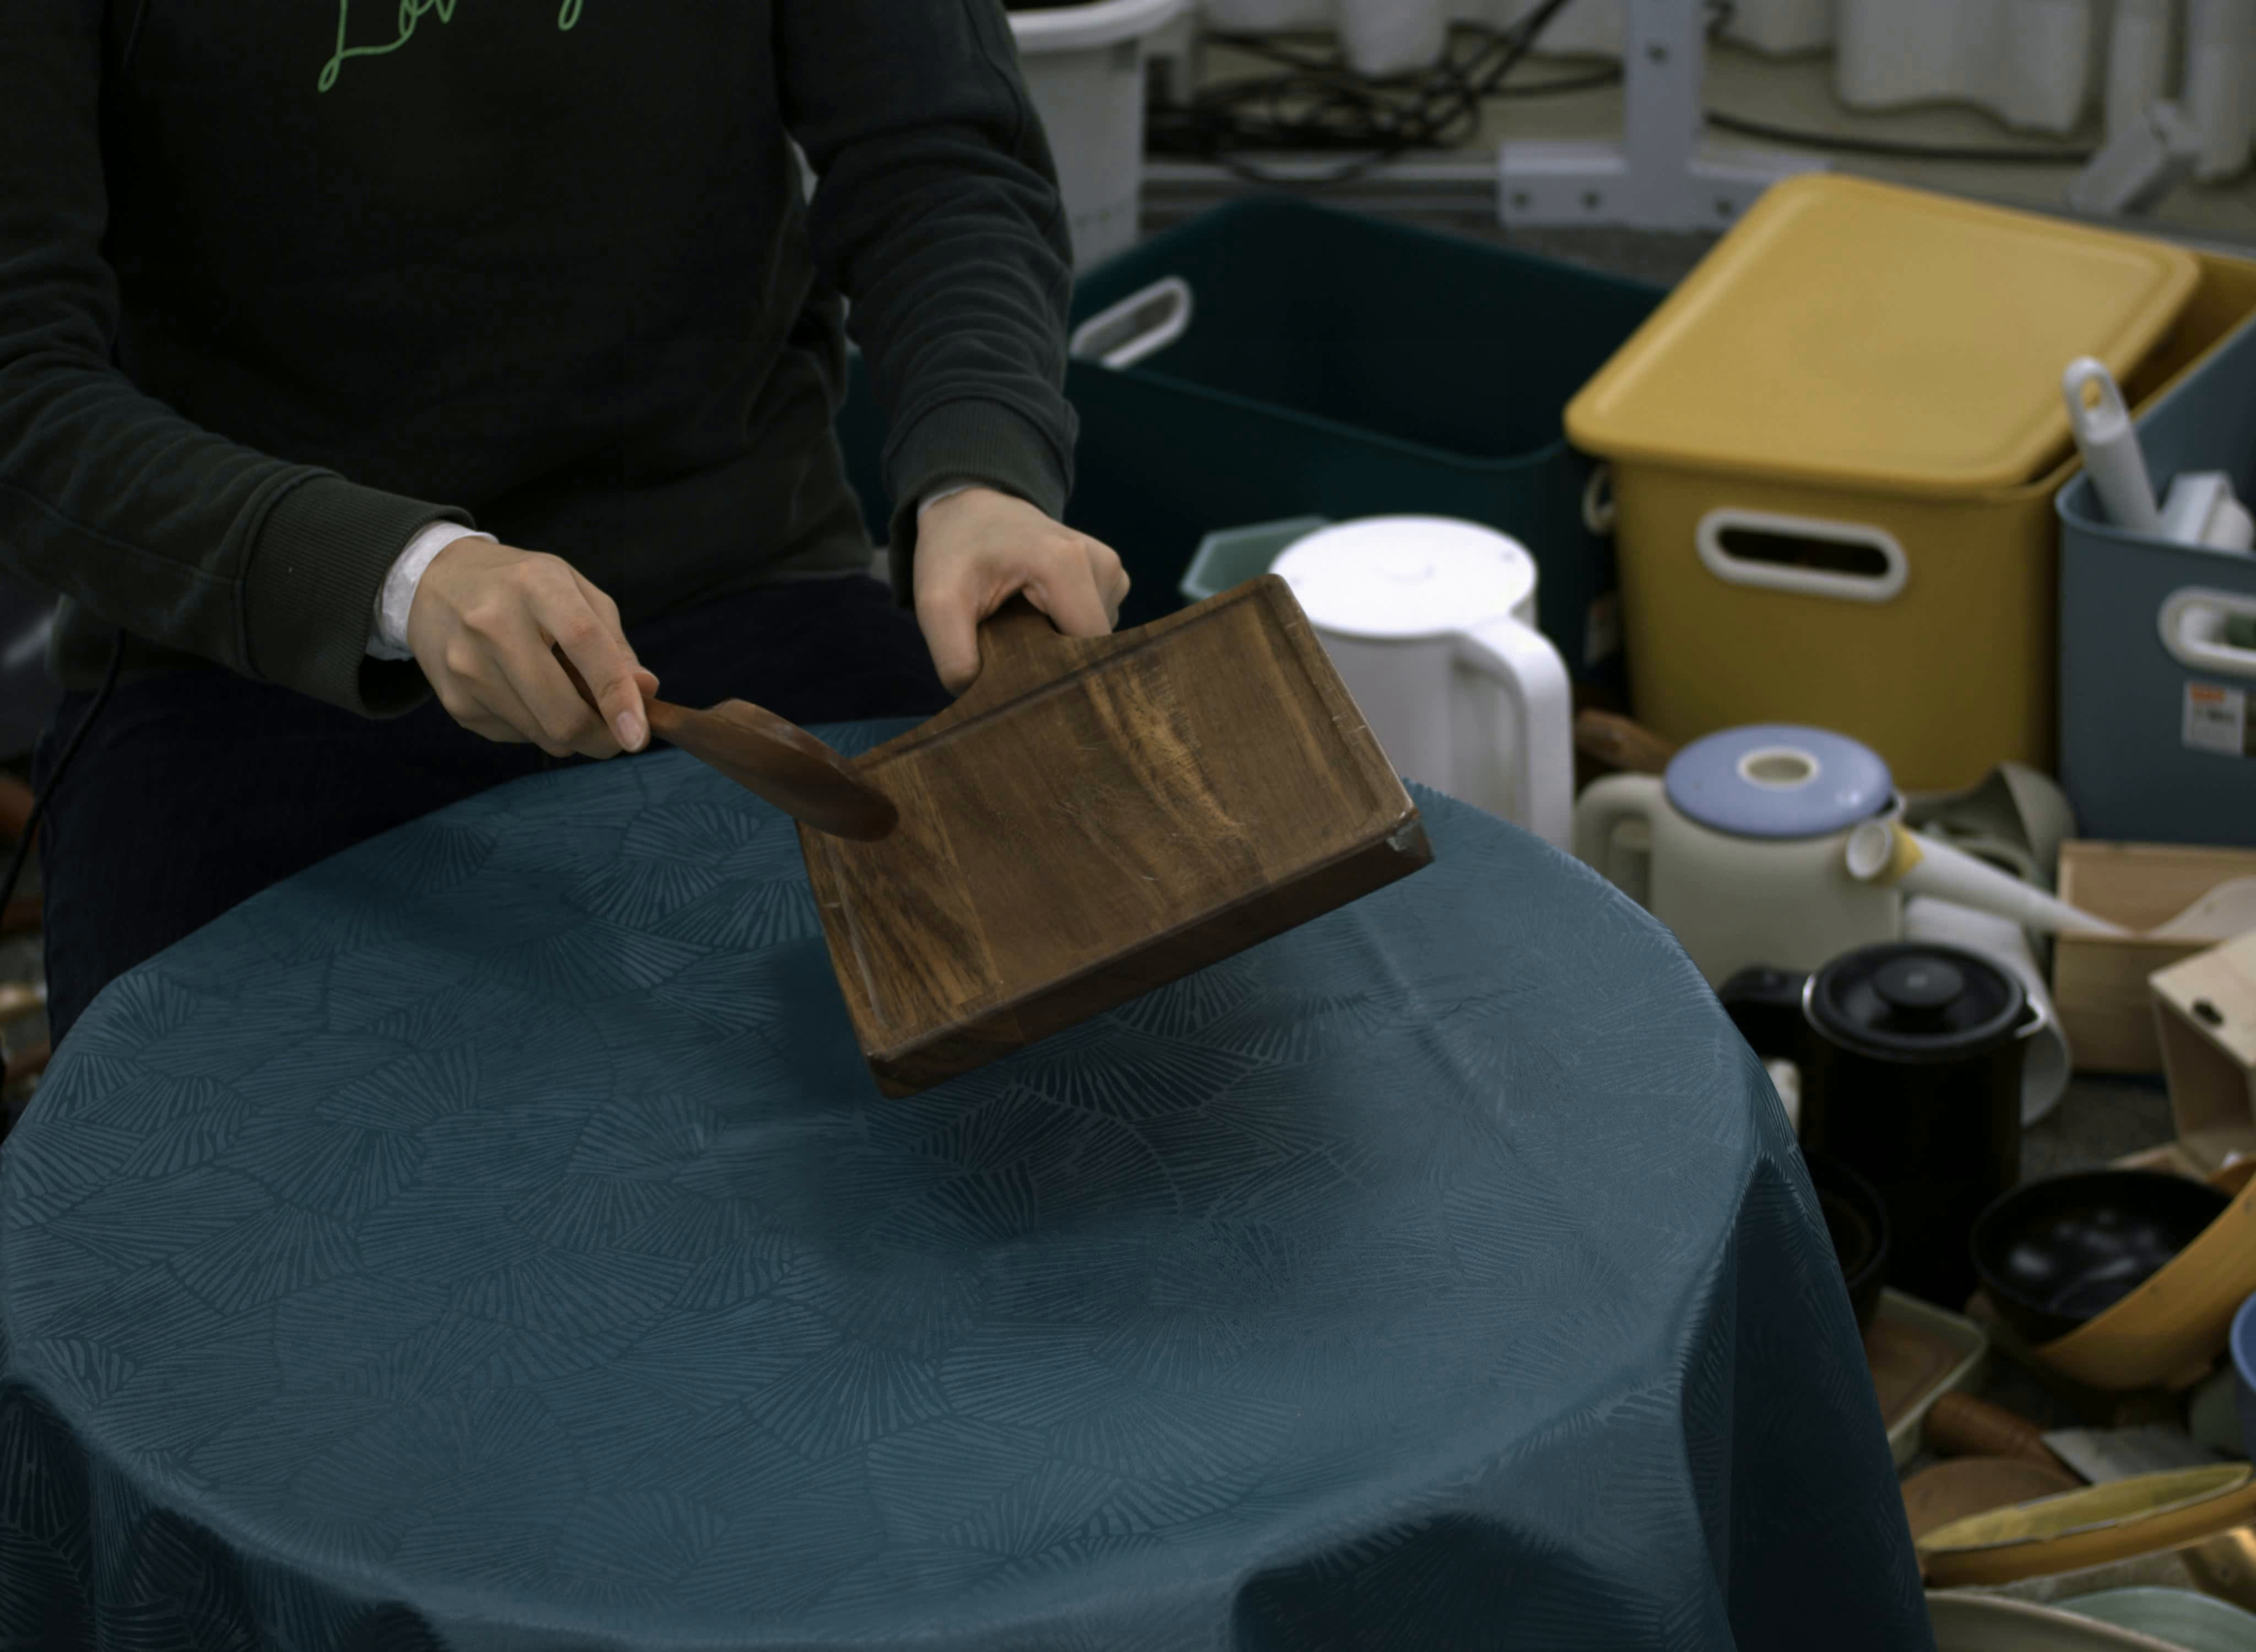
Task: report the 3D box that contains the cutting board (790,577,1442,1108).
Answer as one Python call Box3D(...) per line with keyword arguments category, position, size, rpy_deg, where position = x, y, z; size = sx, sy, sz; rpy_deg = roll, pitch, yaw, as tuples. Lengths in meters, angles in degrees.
Box3D(category="cutting board", position=(-0.018, -0.017, 1.951), size=(0.200, 0.023, 0.355), rpy_deg=(-25, 22, 0))

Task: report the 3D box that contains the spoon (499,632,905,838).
Box3D(category="spoon", position=(-0.152, -0.033, 1.923), size=(0.215, 0.075, 0.017), rpy_deg=(22, 75, 49))
